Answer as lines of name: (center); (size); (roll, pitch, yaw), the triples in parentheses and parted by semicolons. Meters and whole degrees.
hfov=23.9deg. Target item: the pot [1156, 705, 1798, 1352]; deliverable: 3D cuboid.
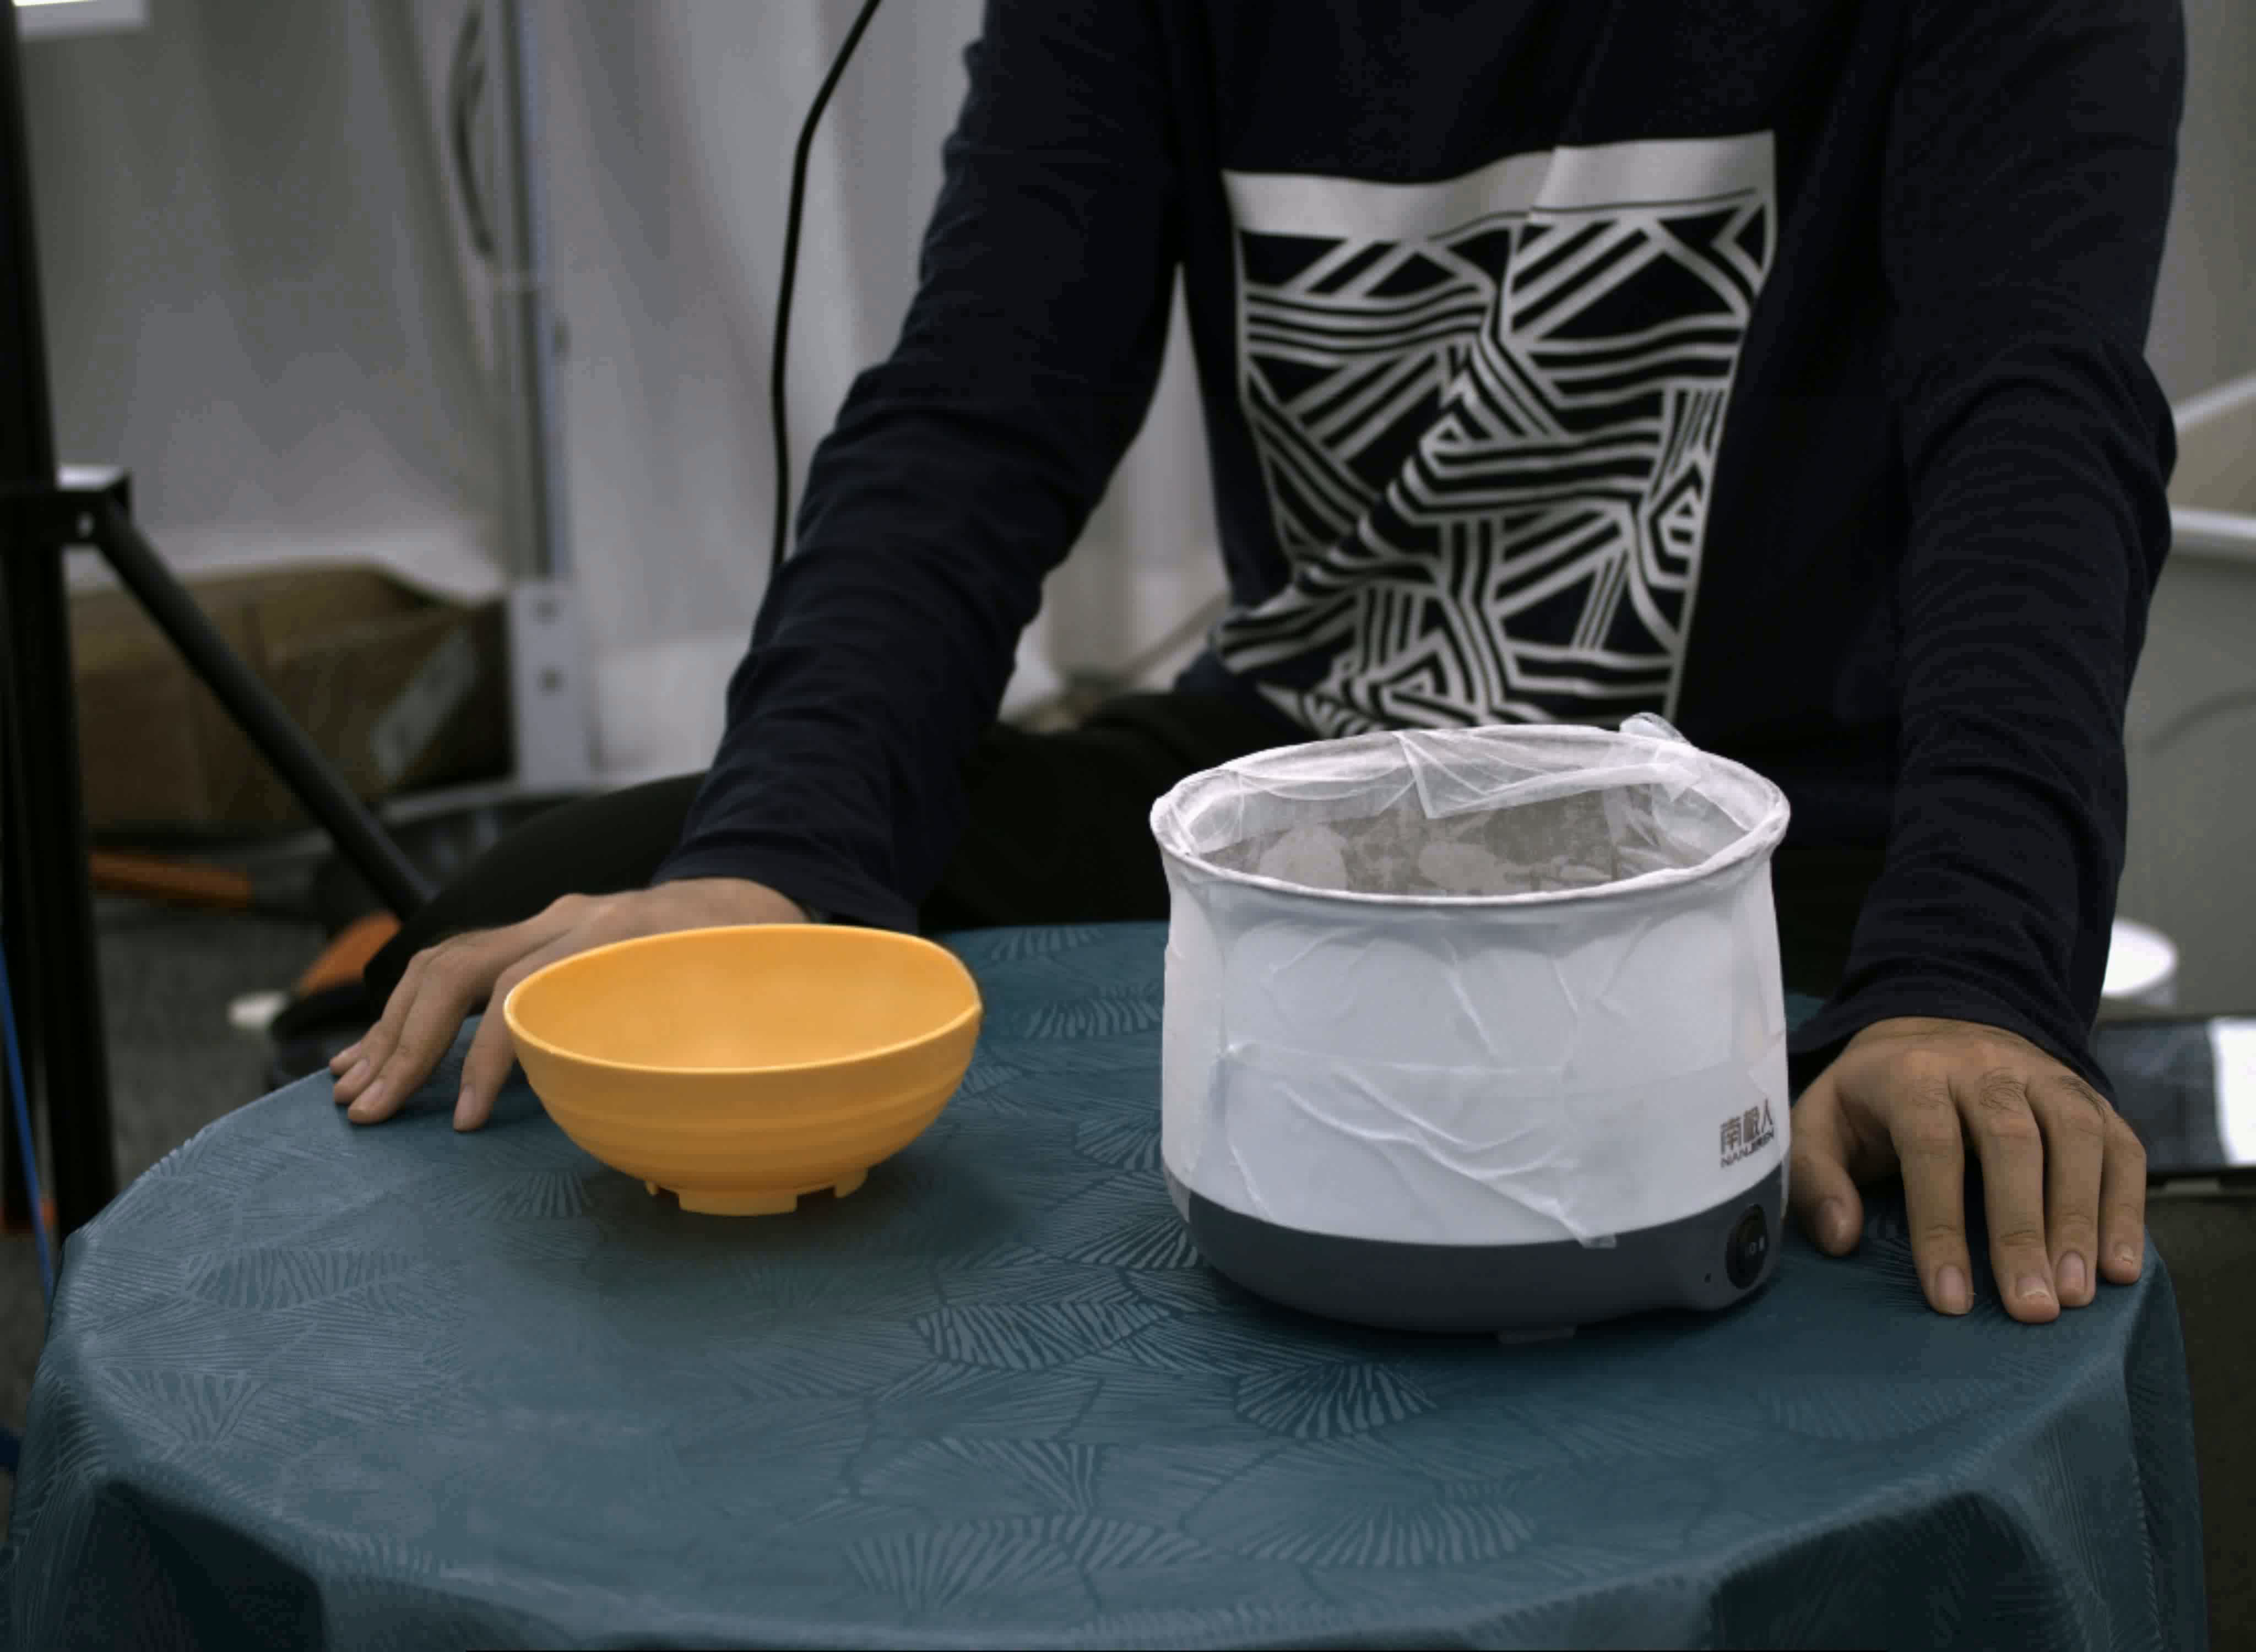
pot: (0.111, 0.049, 1.500); (0.182, 0.136, 0.229); (11, 21, 32)

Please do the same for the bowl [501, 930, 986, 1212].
bowl: (-0.112, 0.076, 1.578); (0.144, 0.060, 0.146); (-3, 14, -1)
